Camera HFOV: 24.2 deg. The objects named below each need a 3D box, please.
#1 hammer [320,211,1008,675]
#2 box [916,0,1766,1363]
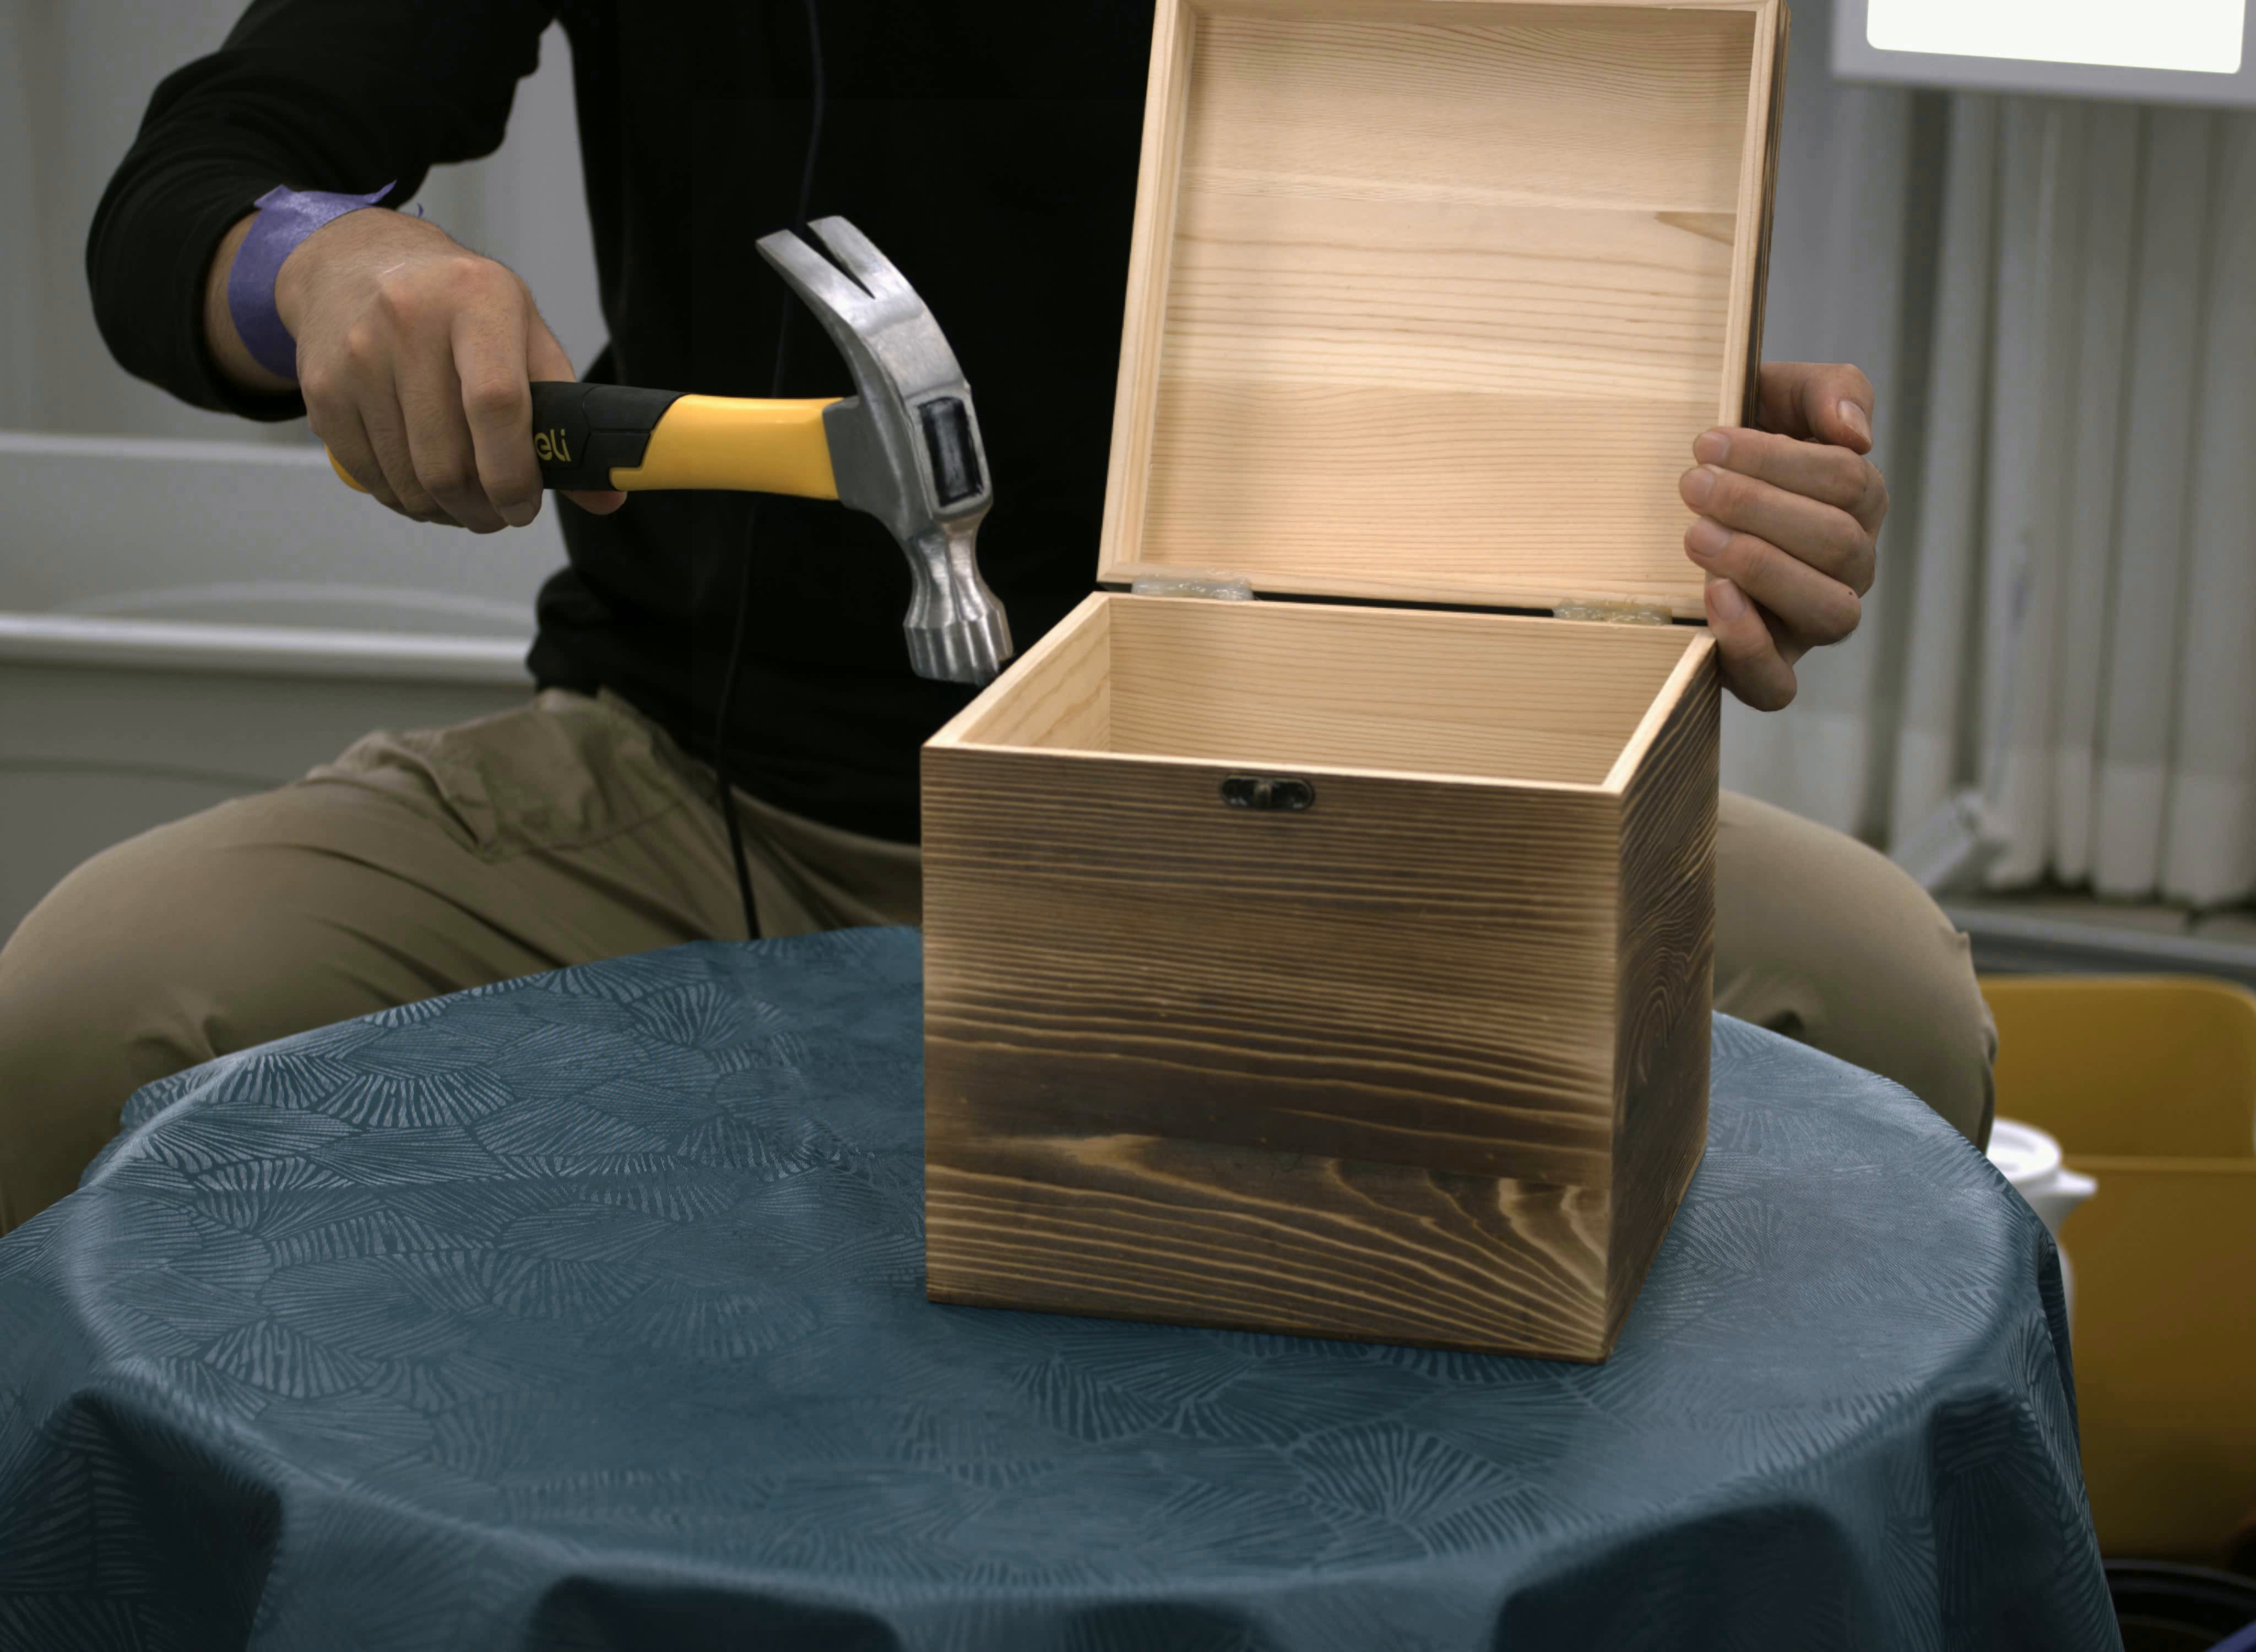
[{"bbox_3d":[-0.154,-0.120,1.626,0.032,0.132,0.334,-20,16,-36],"label":"hammer"},{"bbox_3d":[0.073,-0.071,1.592,0.207,0.378,0.321,4,18,13],"label":"box"}]
